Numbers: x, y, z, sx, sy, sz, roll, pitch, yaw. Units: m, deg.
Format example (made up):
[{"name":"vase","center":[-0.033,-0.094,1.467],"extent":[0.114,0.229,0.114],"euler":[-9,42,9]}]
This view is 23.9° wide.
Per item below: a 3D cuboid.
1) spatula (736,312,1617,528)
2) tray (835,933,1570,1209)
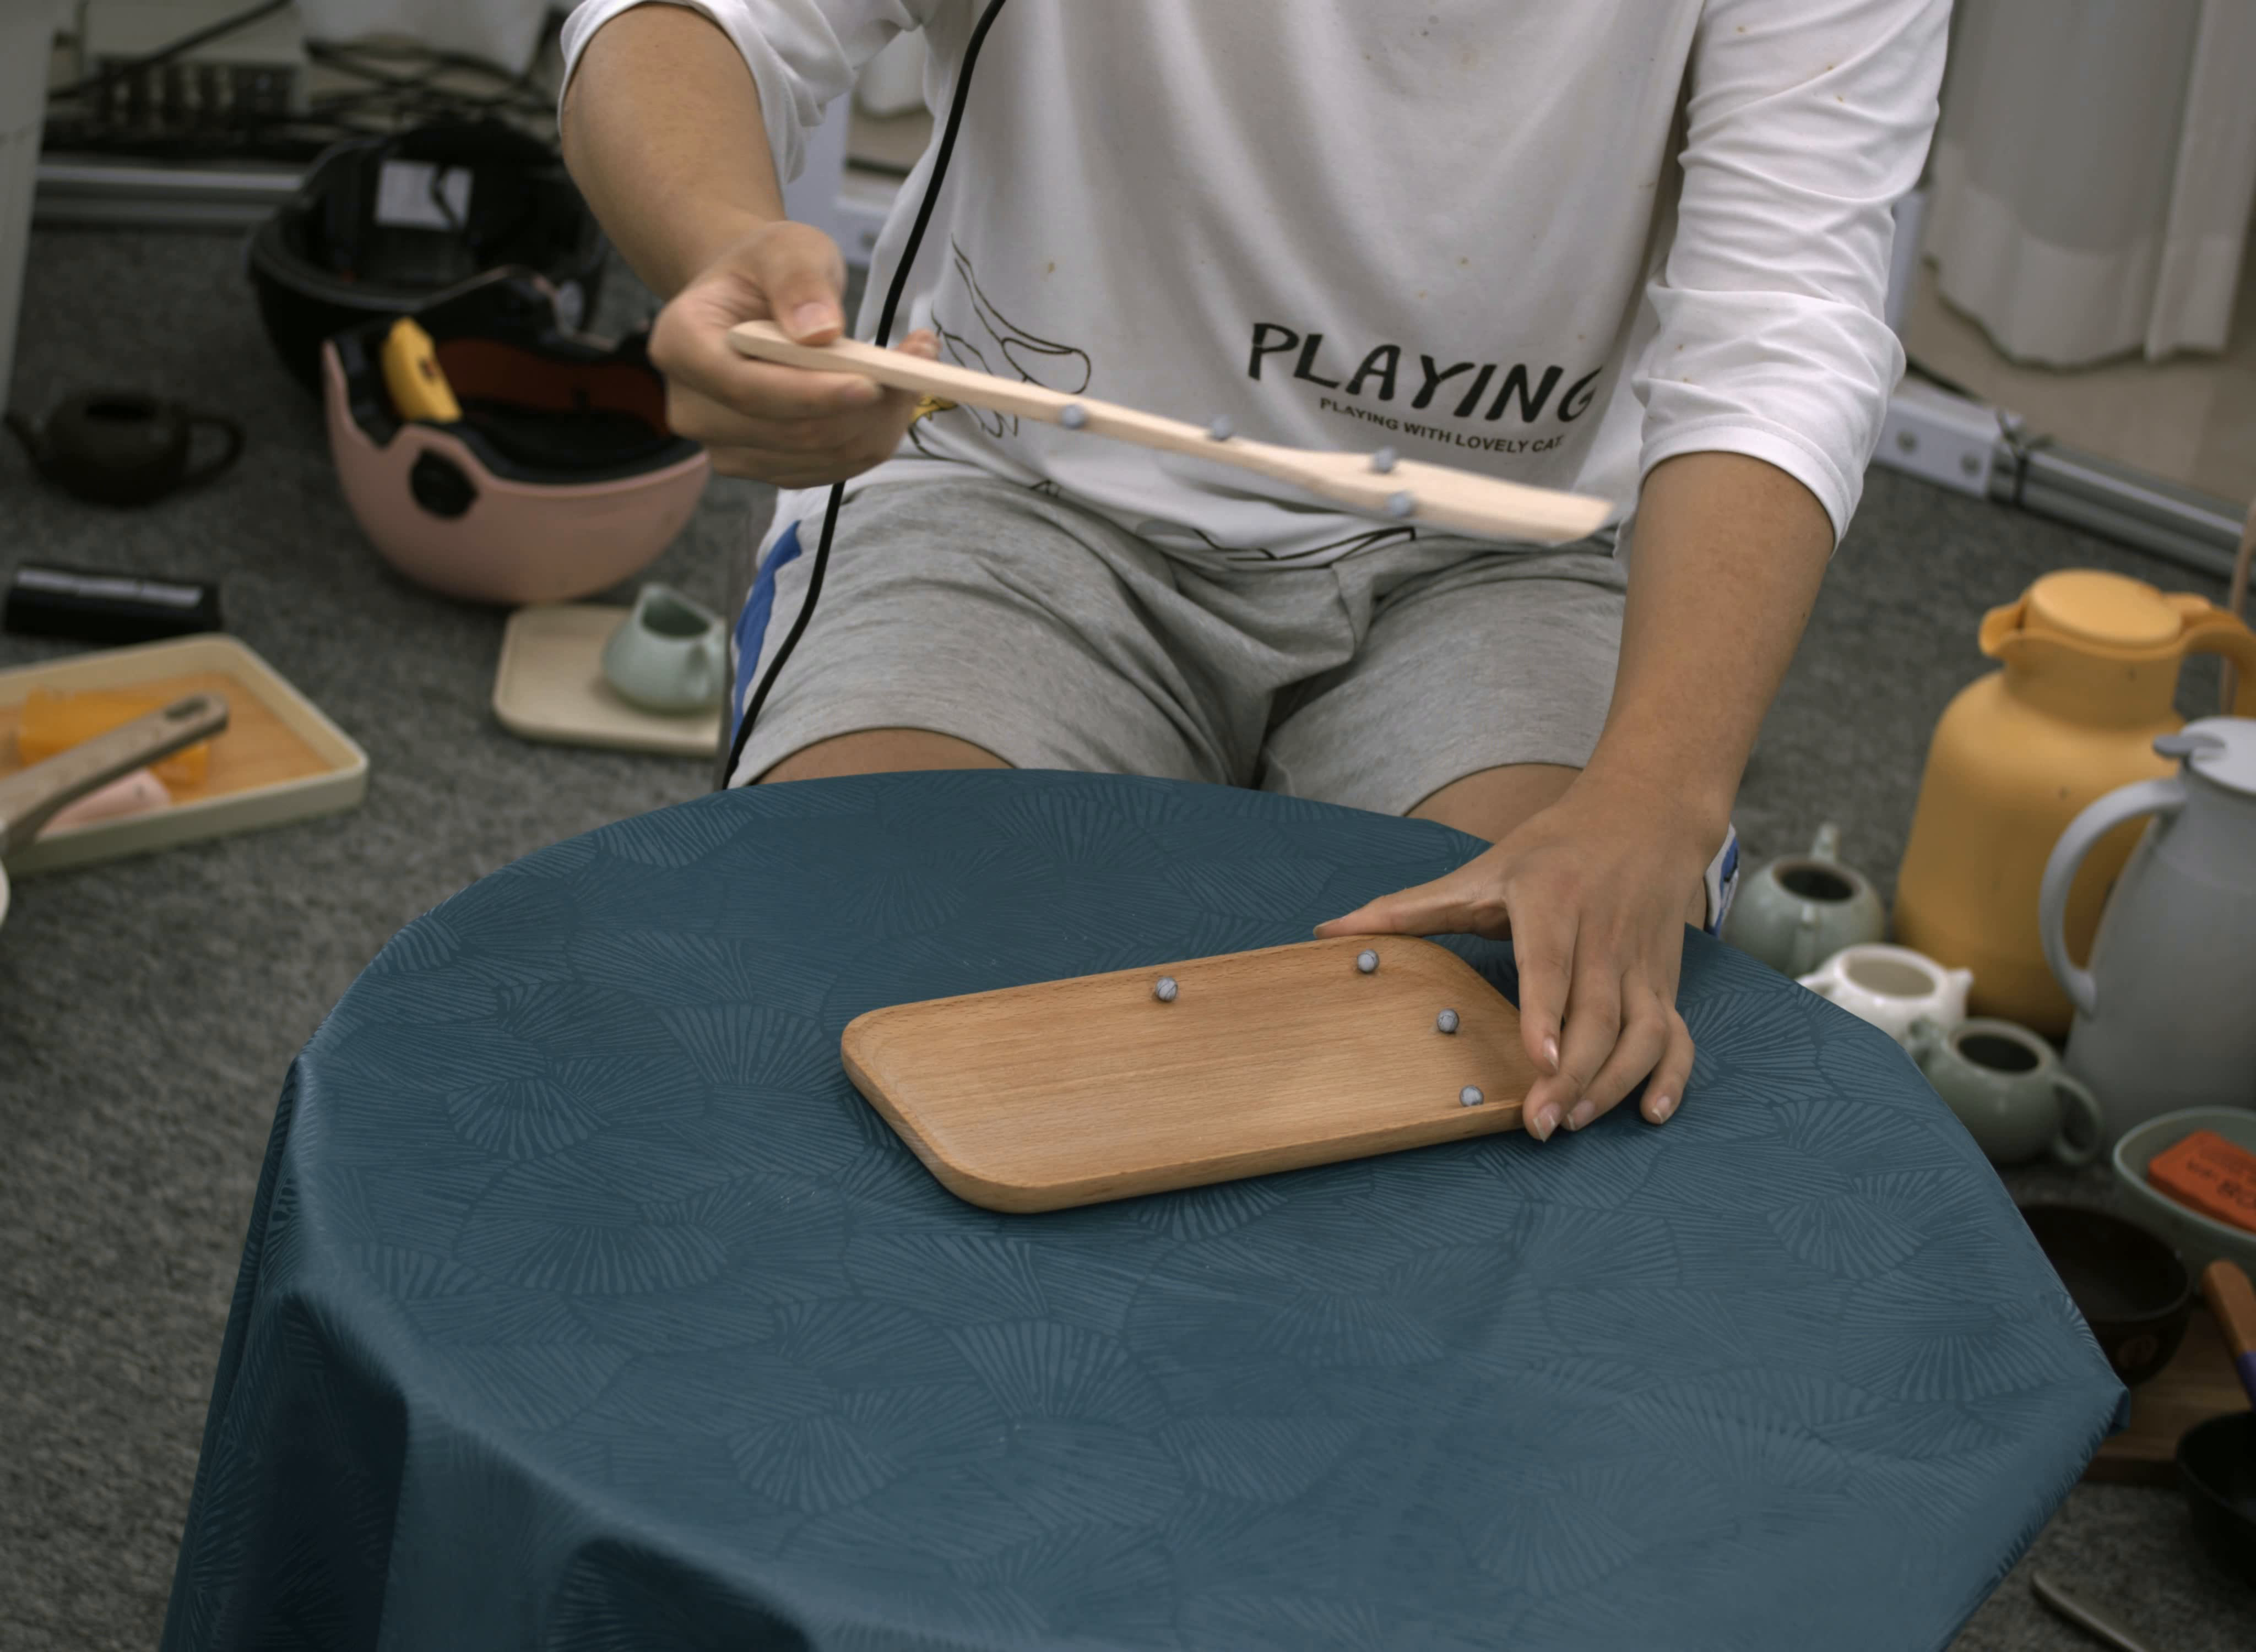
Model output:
[{"name":"spatula","center":[0.013,-0.131,1.723],"extent":[0.293,0.010,0.072],"euler":[13,14,9]},{"name":"tray","center":[0.027,0.085,1.872],"extent":[0.249,0.023,0.132],"euler":[-8,27,-25]}]
